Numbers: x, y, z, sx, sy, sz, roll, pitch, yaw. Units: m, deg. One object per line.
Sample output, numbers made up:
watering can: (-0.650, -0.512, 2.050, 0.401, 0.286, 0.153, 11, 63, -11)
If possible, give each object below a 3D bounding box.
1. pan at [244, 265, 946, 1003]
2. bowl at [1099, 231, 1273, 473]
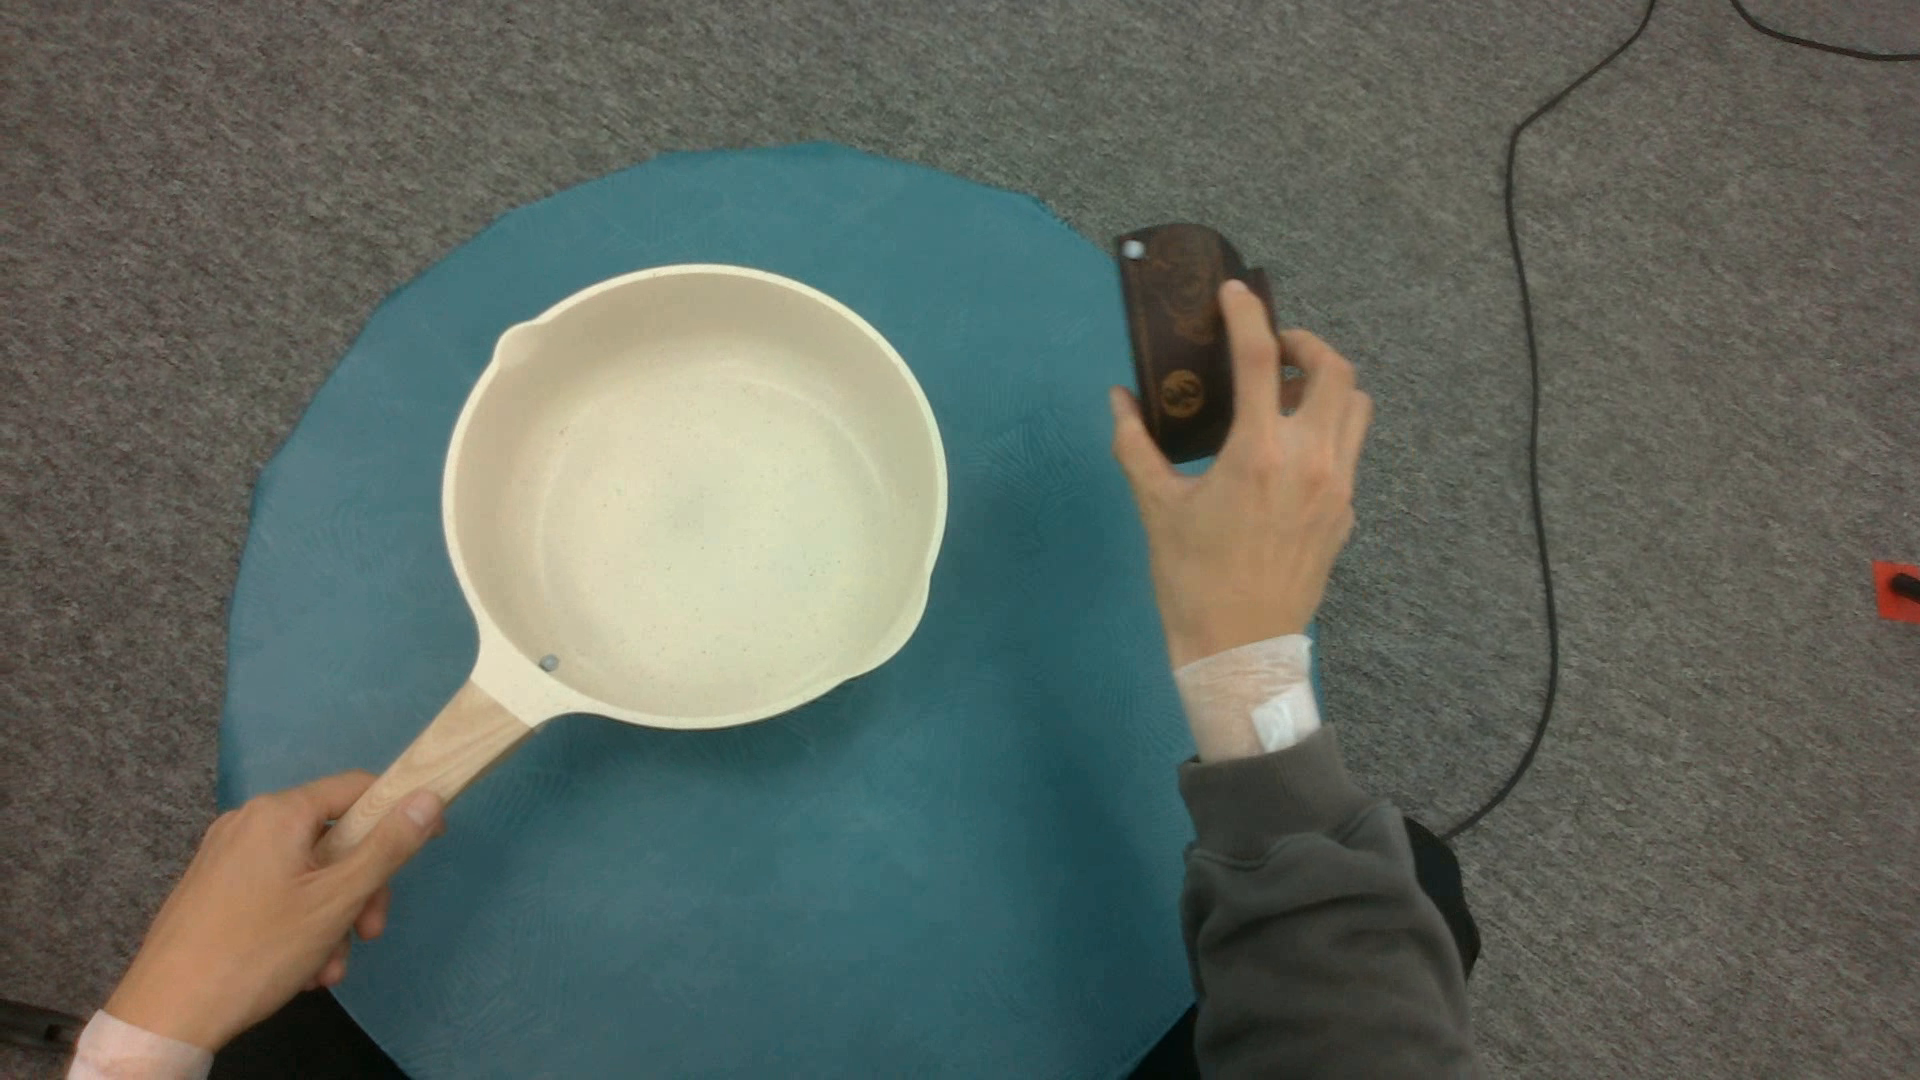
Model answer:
pan: (-0.190, 0.049, 0.718, 0.263, 0.101, 0.436, 37, 73, 6)
bowl: (0.115, -0.097, 0.684, 0.070, 0.118, 0.118, -13, 73, 8)
